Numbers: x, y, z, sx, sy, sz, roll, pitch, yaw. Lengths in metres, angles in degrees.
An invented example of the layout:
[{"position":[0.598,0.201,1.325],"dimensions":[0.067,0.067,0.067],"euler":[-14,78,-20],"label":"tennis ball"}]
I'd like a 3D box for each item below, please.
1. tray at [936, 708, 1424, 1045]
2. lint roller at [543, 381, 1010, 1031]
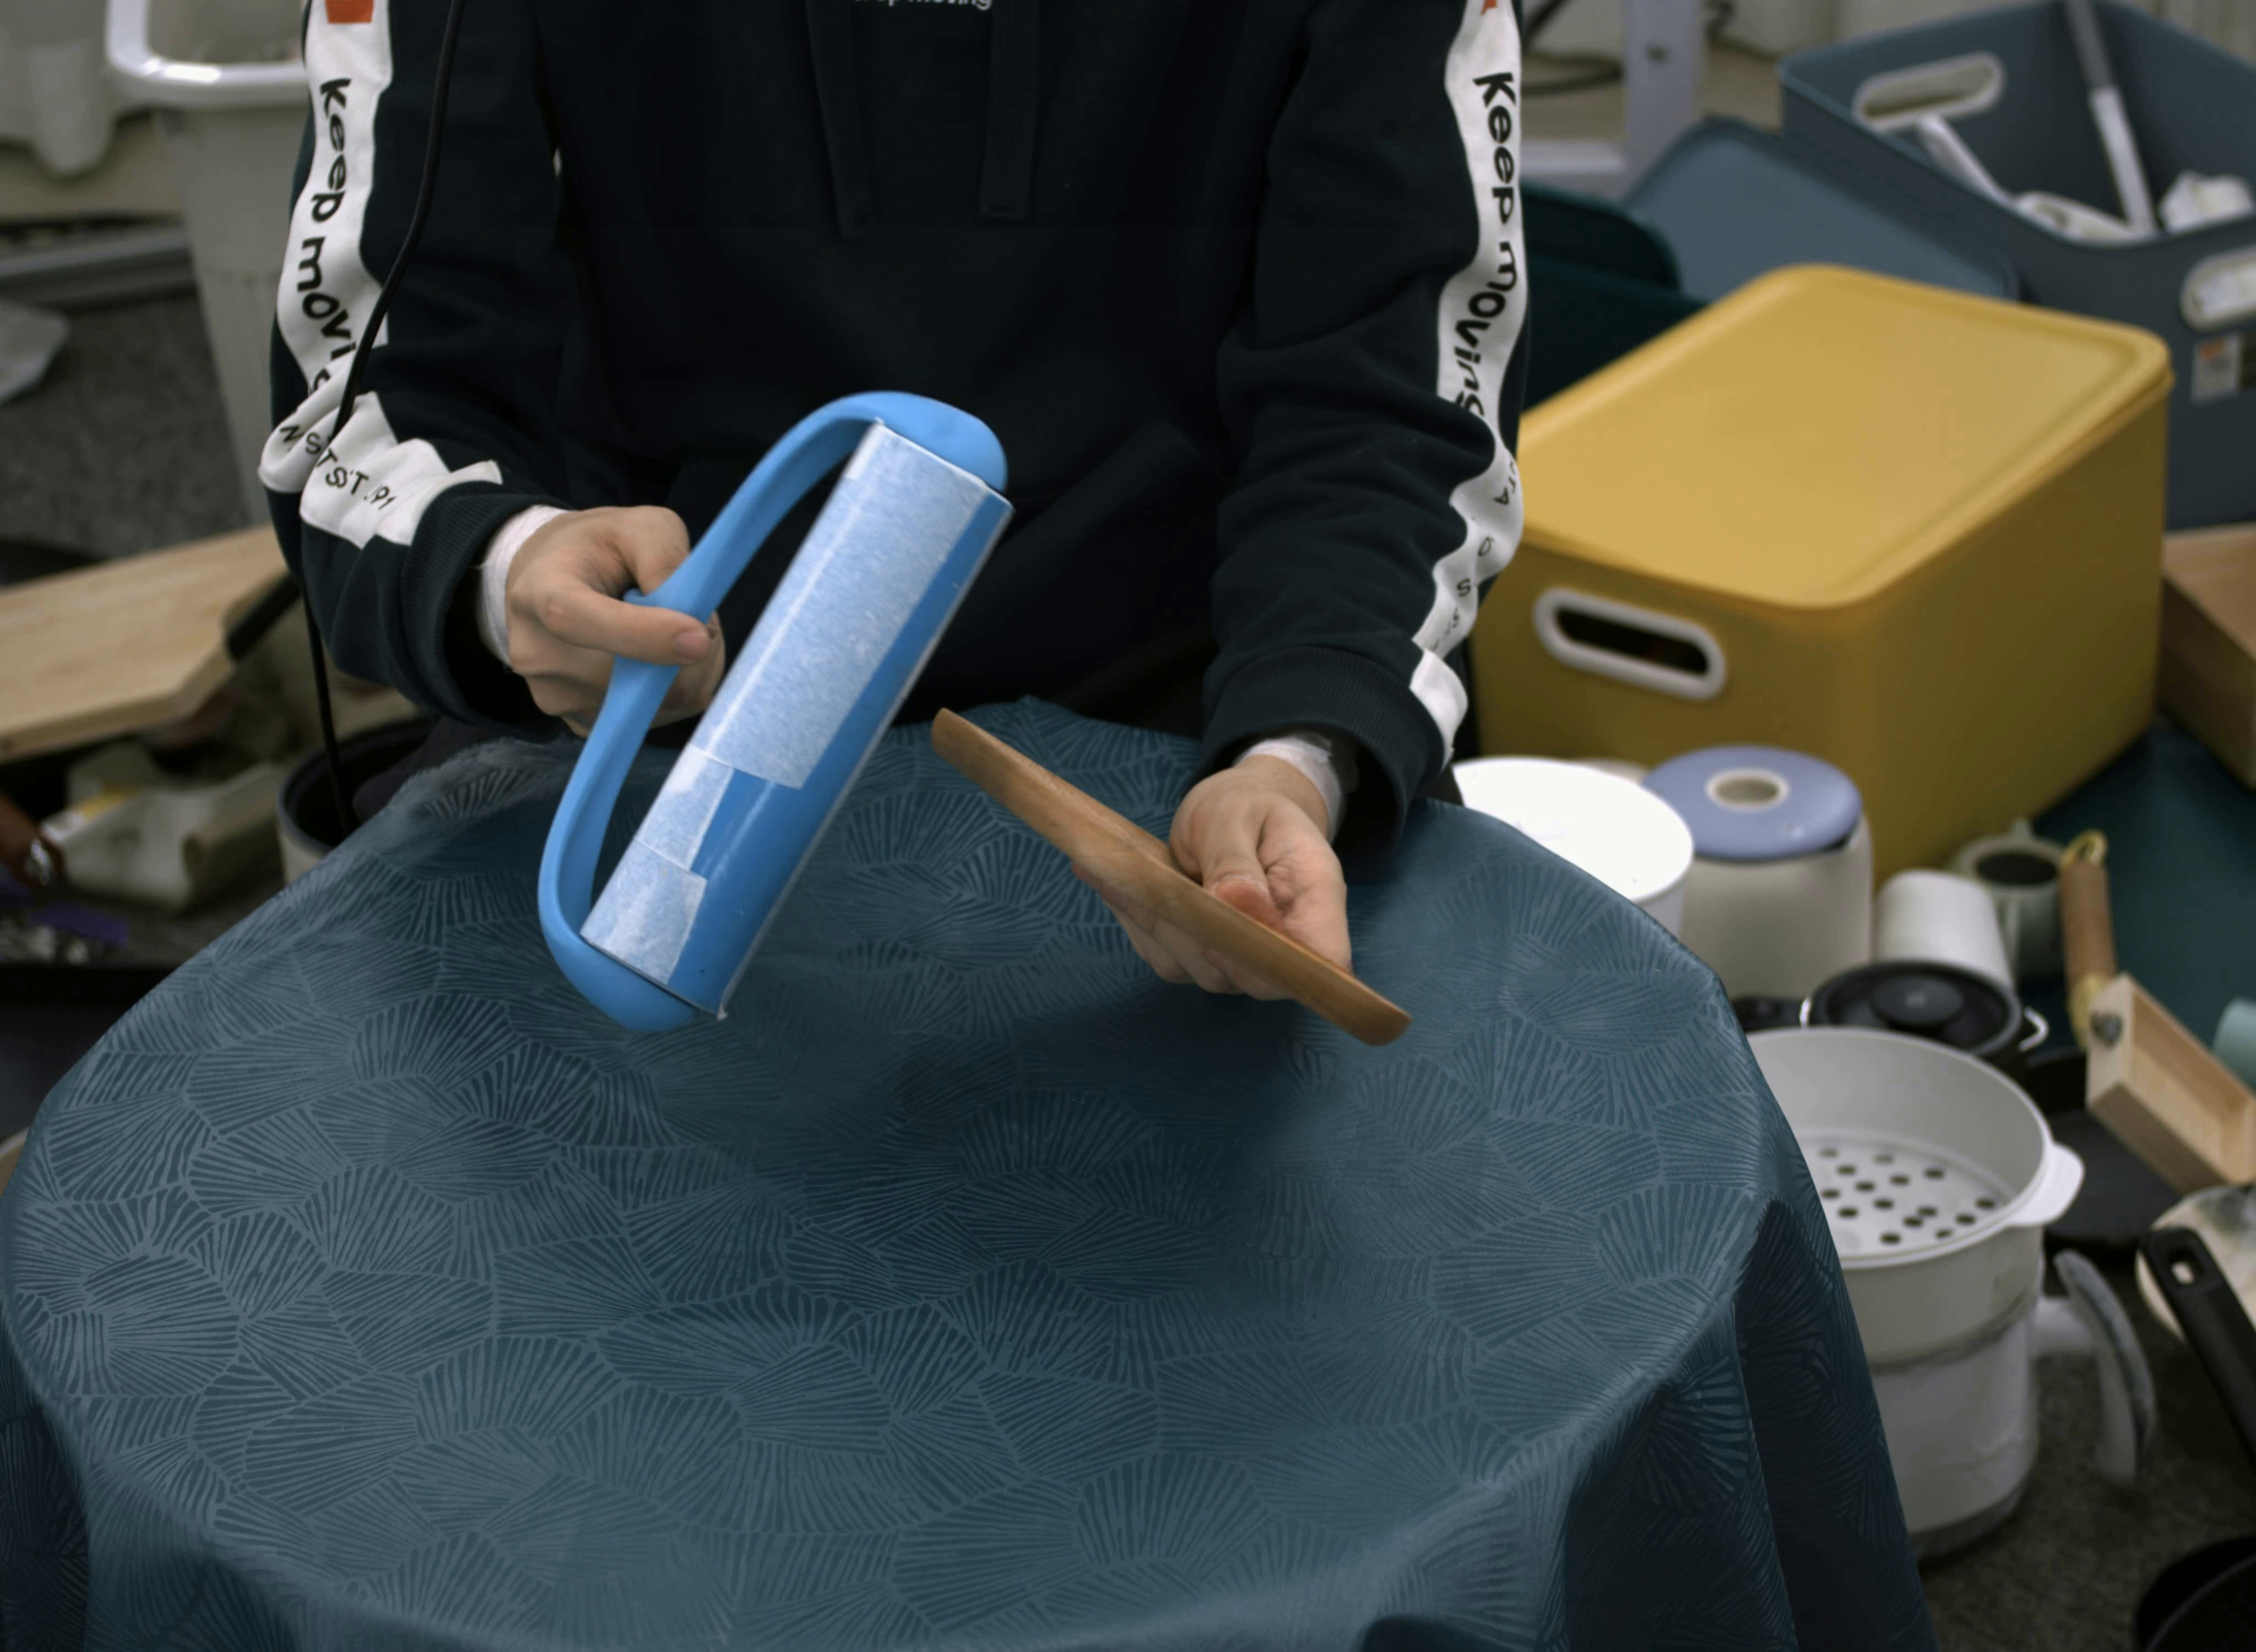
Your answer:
[{"position":[0.012,0.016,1.846],"dimensions":[0.130,0.023,0.251],"euler":[35,-1,-18],"label":"tray"},{"position":[-0.140,-0.051,1.871],"dimensions":[0.067,0.230,0.180],"euler":[30,-5,-36],"label":"lint roller"}]
